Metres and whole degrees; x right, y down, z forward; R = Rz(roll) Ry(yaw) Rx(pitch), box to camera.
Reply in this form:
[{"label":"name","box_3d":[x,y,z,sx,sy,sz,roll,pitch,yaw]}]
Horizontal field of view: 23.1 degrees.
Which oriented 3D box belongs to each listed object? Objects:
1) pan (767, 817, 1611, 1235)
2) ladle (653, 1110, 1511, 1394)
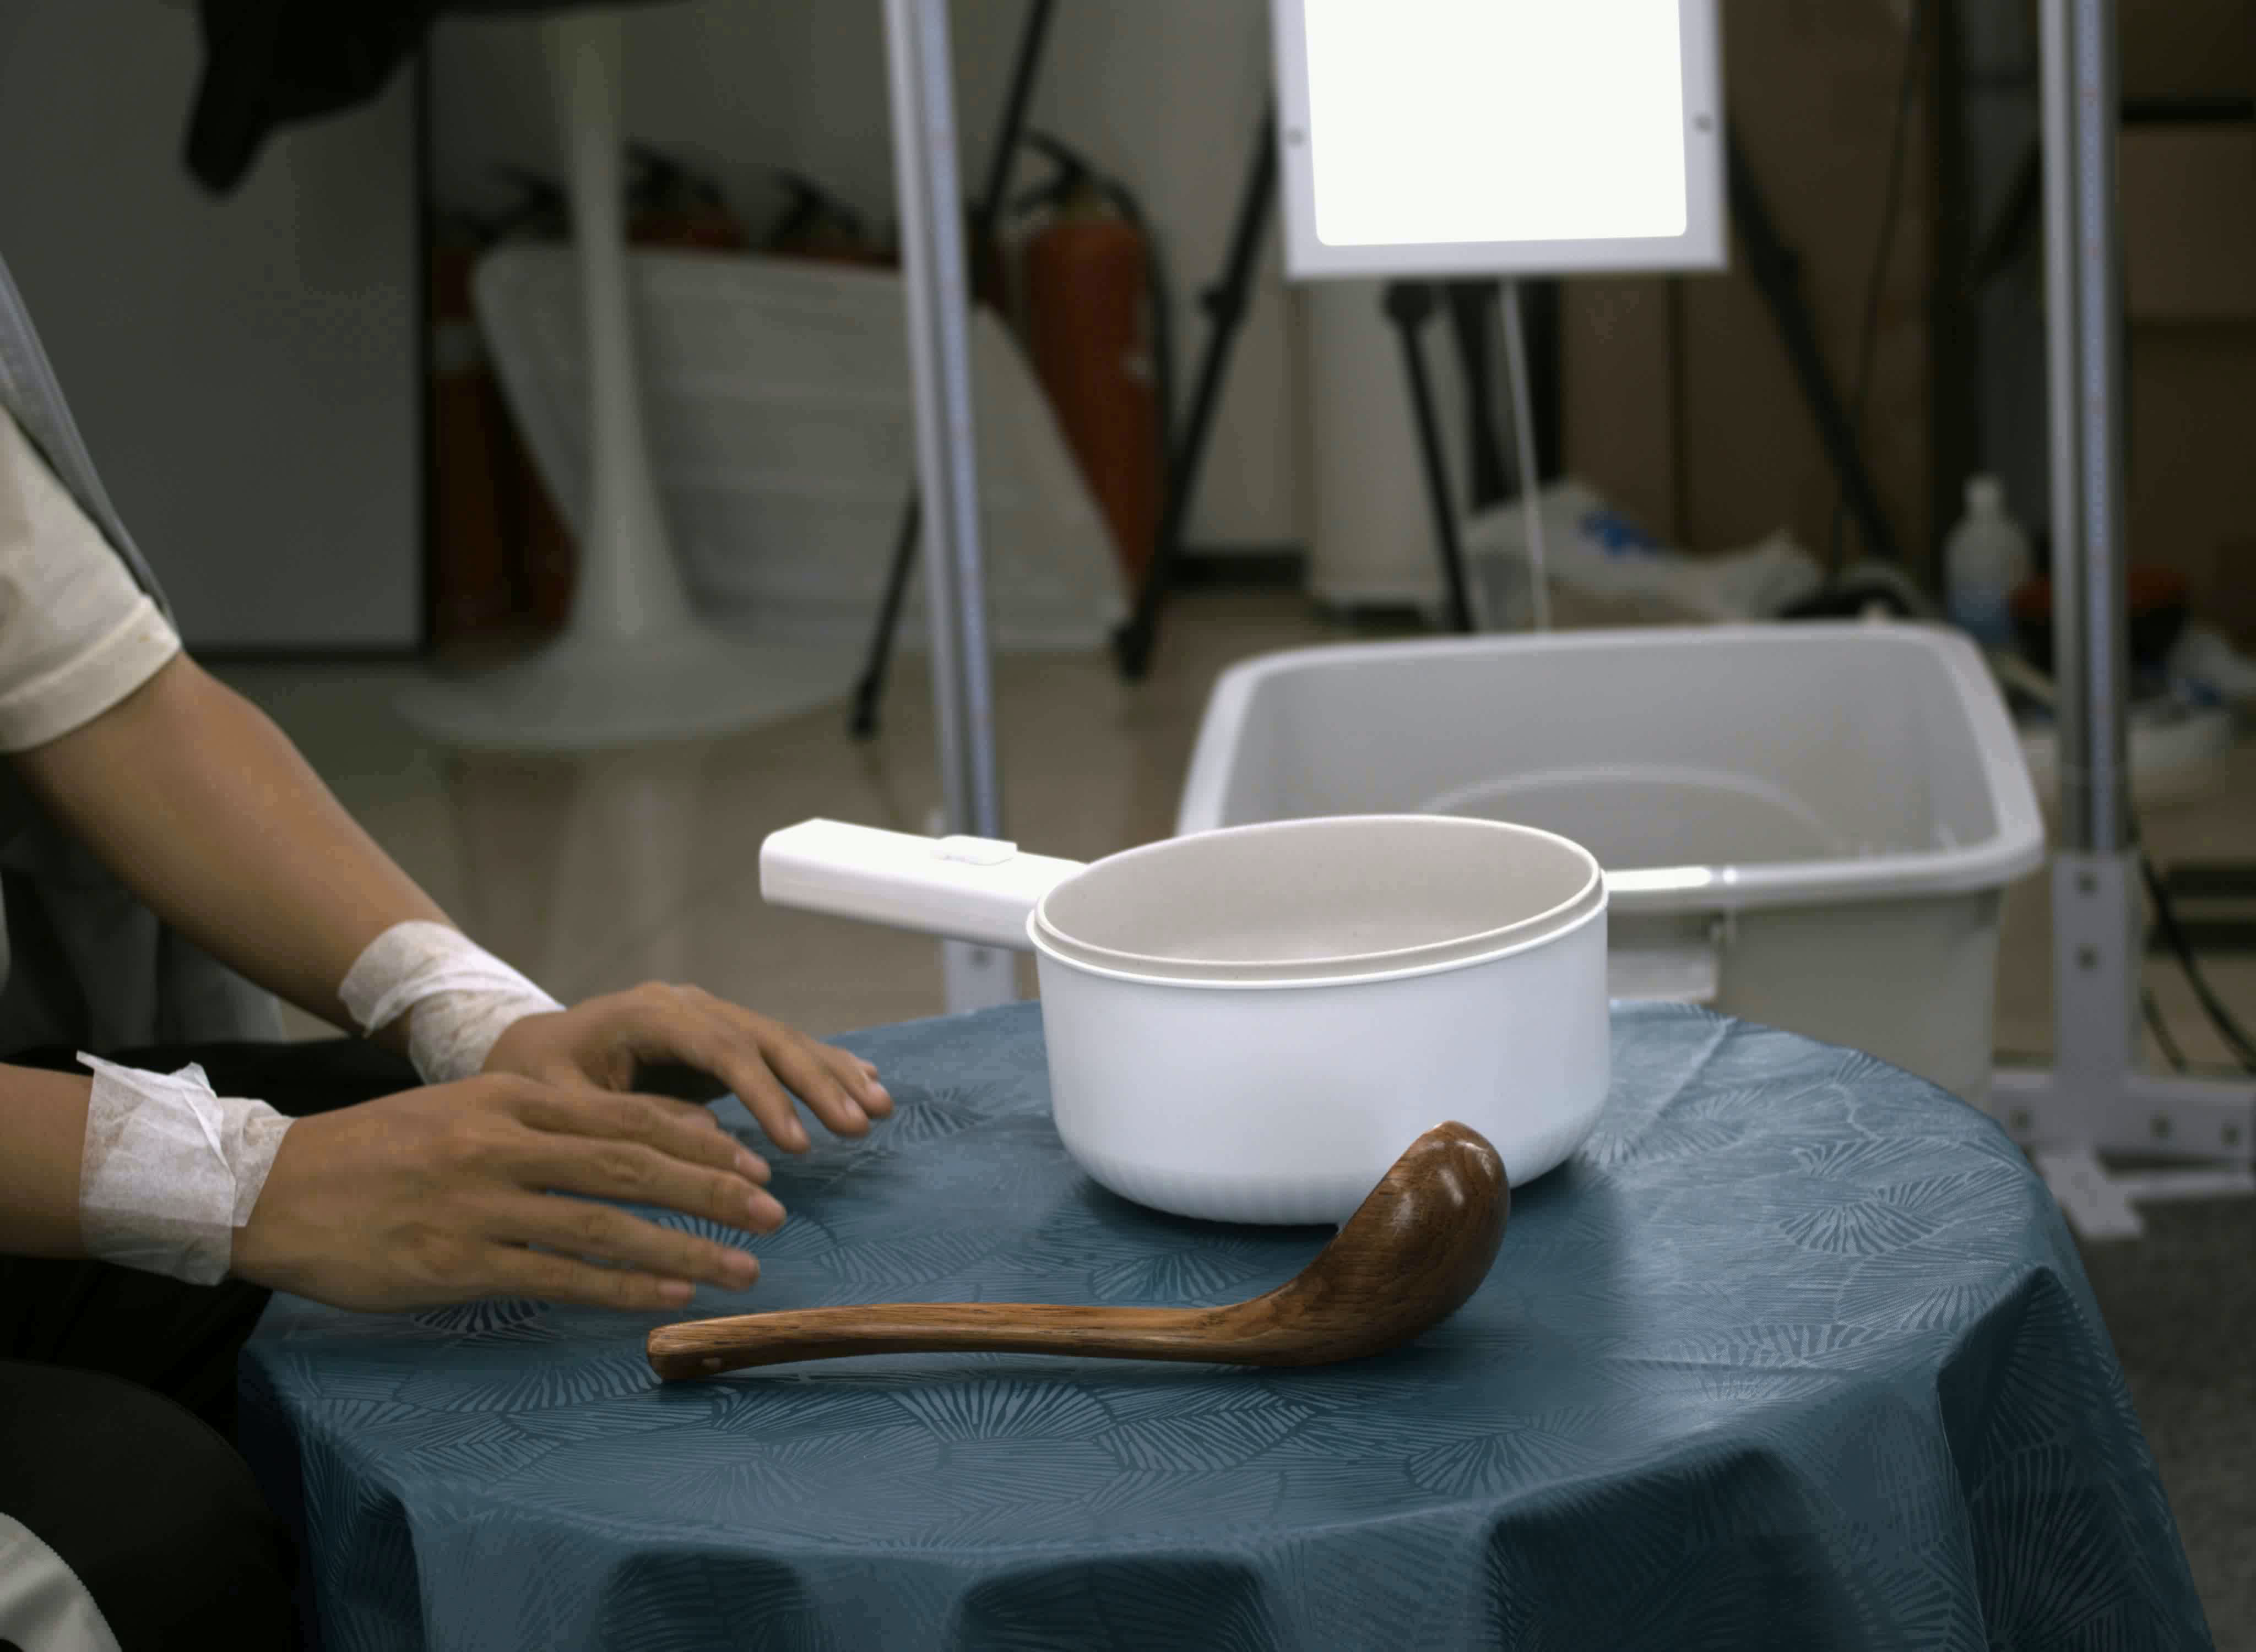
[{"label":"pan","box_3d":[0.011,0.064,1.947,0.362,0.102,0.196,6,19,42]},{"label":"ladle","box_3d":[-0.016,0.134,1.729,0.277,0.081,0.076,-4,57,16]}]
